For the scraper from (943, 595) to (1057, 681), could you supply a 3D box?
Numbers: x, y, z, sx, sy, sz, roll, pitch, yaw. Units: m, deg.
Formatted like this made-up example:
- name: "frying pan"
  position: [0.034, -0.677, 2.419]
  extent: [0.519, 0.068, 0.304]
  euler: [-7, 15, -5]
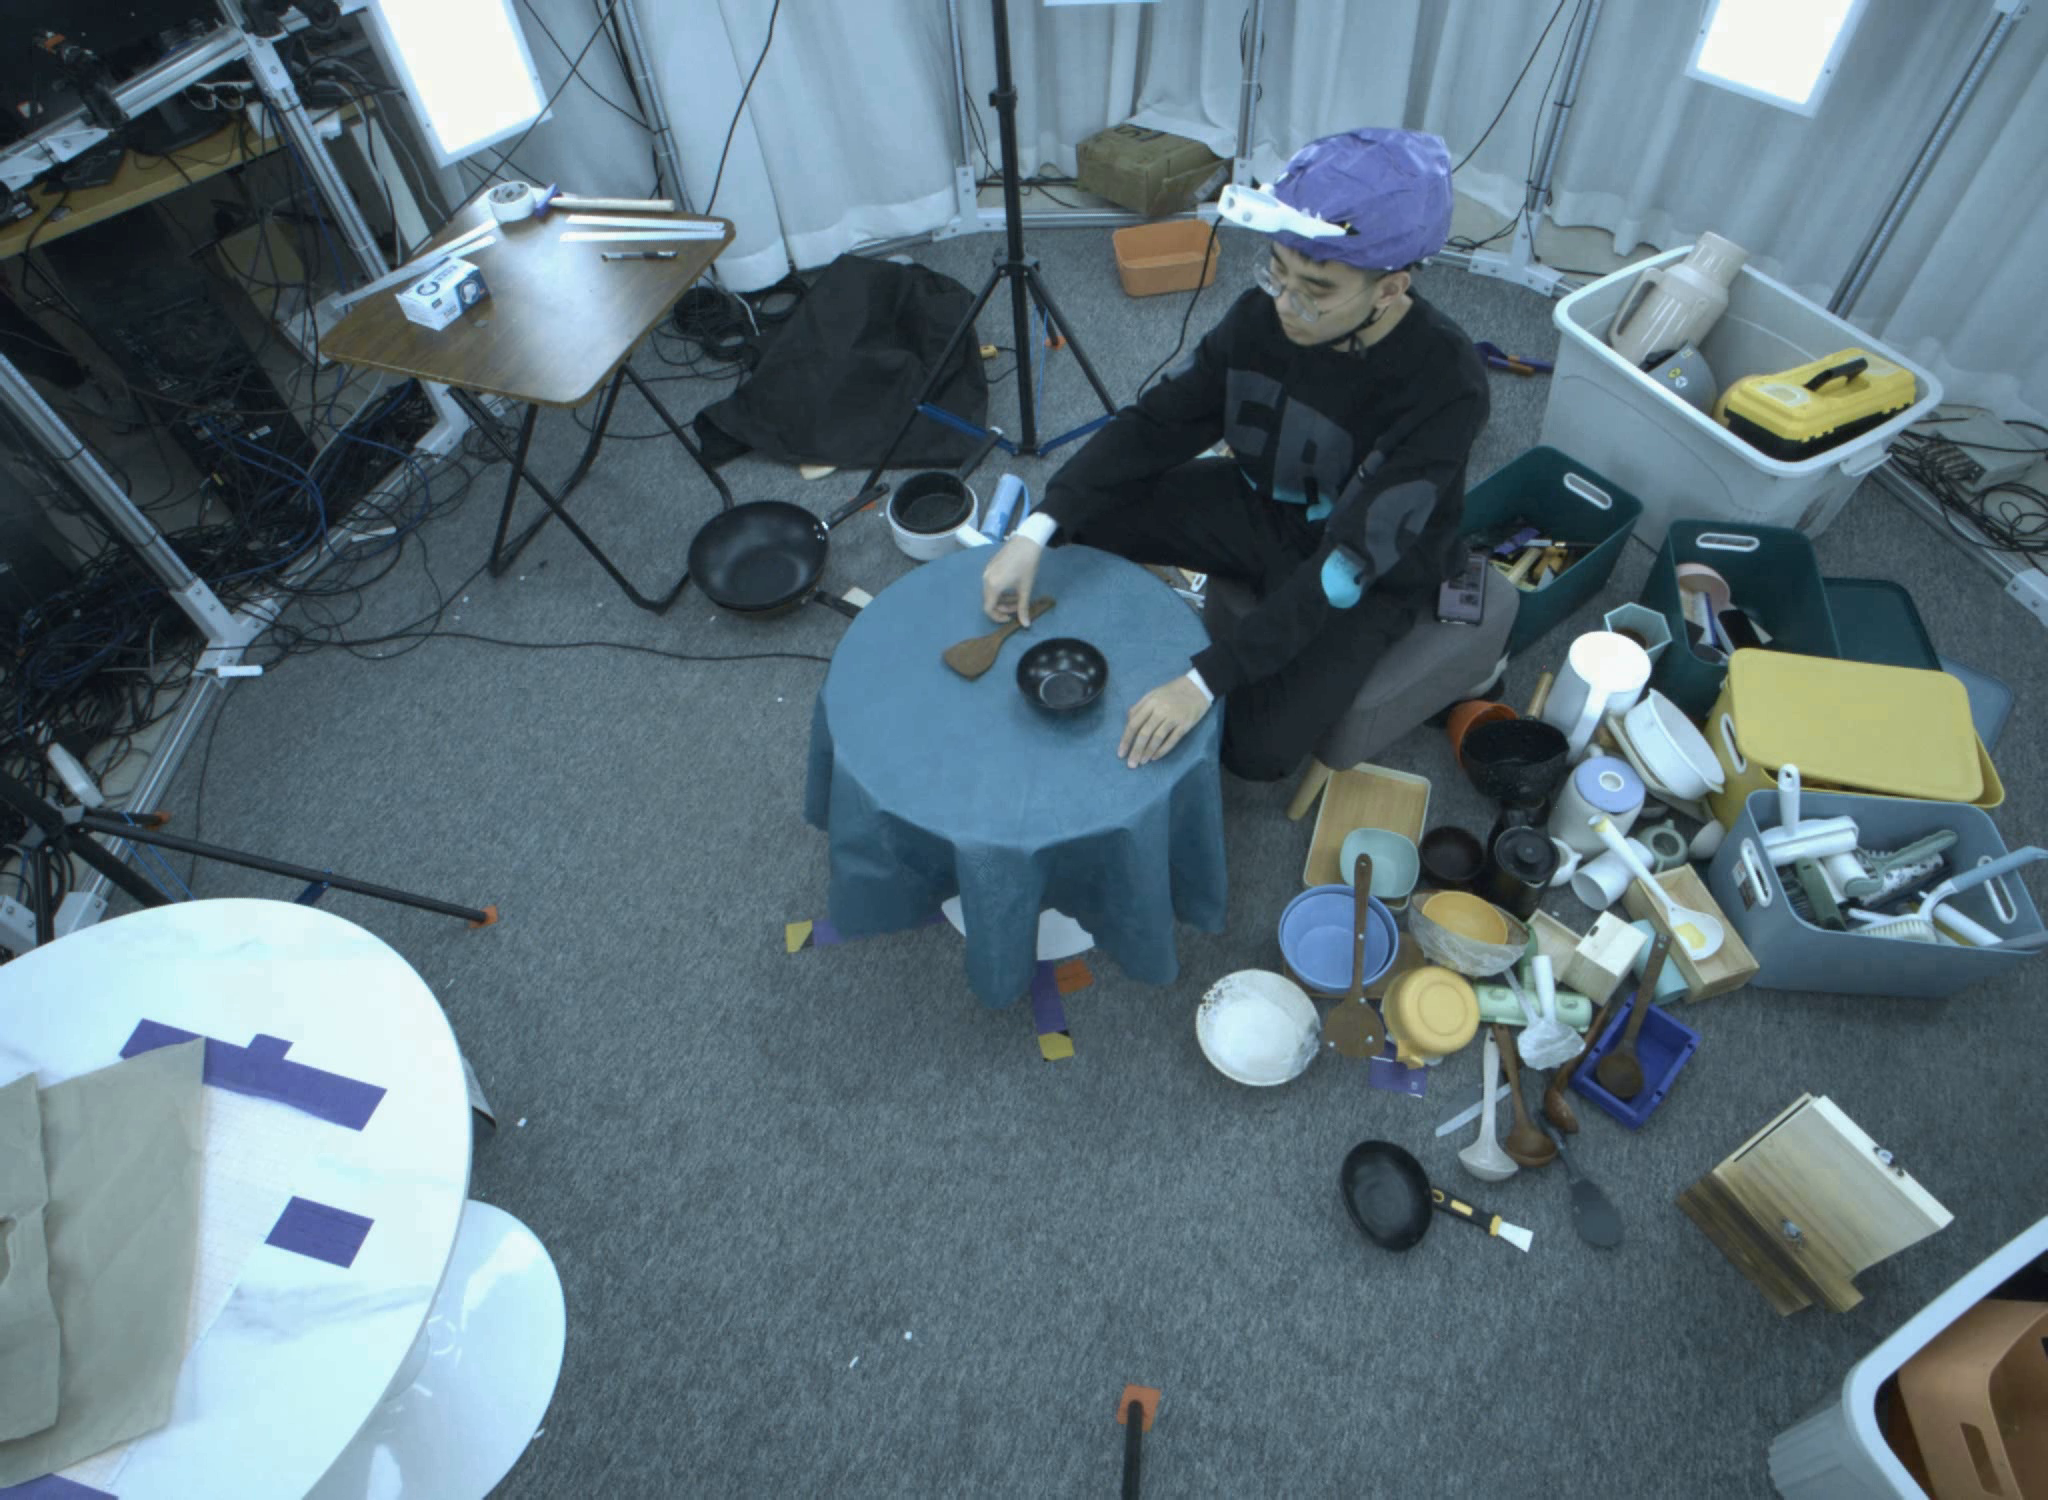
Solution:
- name: "scraper"
  position: [-0.030, -0.180, 1.921]
  extent: [0.213, 0.011, 0.074]
  euler: [-39, 65, -24]

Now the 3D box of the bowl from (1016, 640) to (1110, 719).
- name: "bowl"
  position: [0.060, -0.097, 1.833]
  extent: [0.140, 0.050, 0.138]
  euler: [-2, 54, 4]
